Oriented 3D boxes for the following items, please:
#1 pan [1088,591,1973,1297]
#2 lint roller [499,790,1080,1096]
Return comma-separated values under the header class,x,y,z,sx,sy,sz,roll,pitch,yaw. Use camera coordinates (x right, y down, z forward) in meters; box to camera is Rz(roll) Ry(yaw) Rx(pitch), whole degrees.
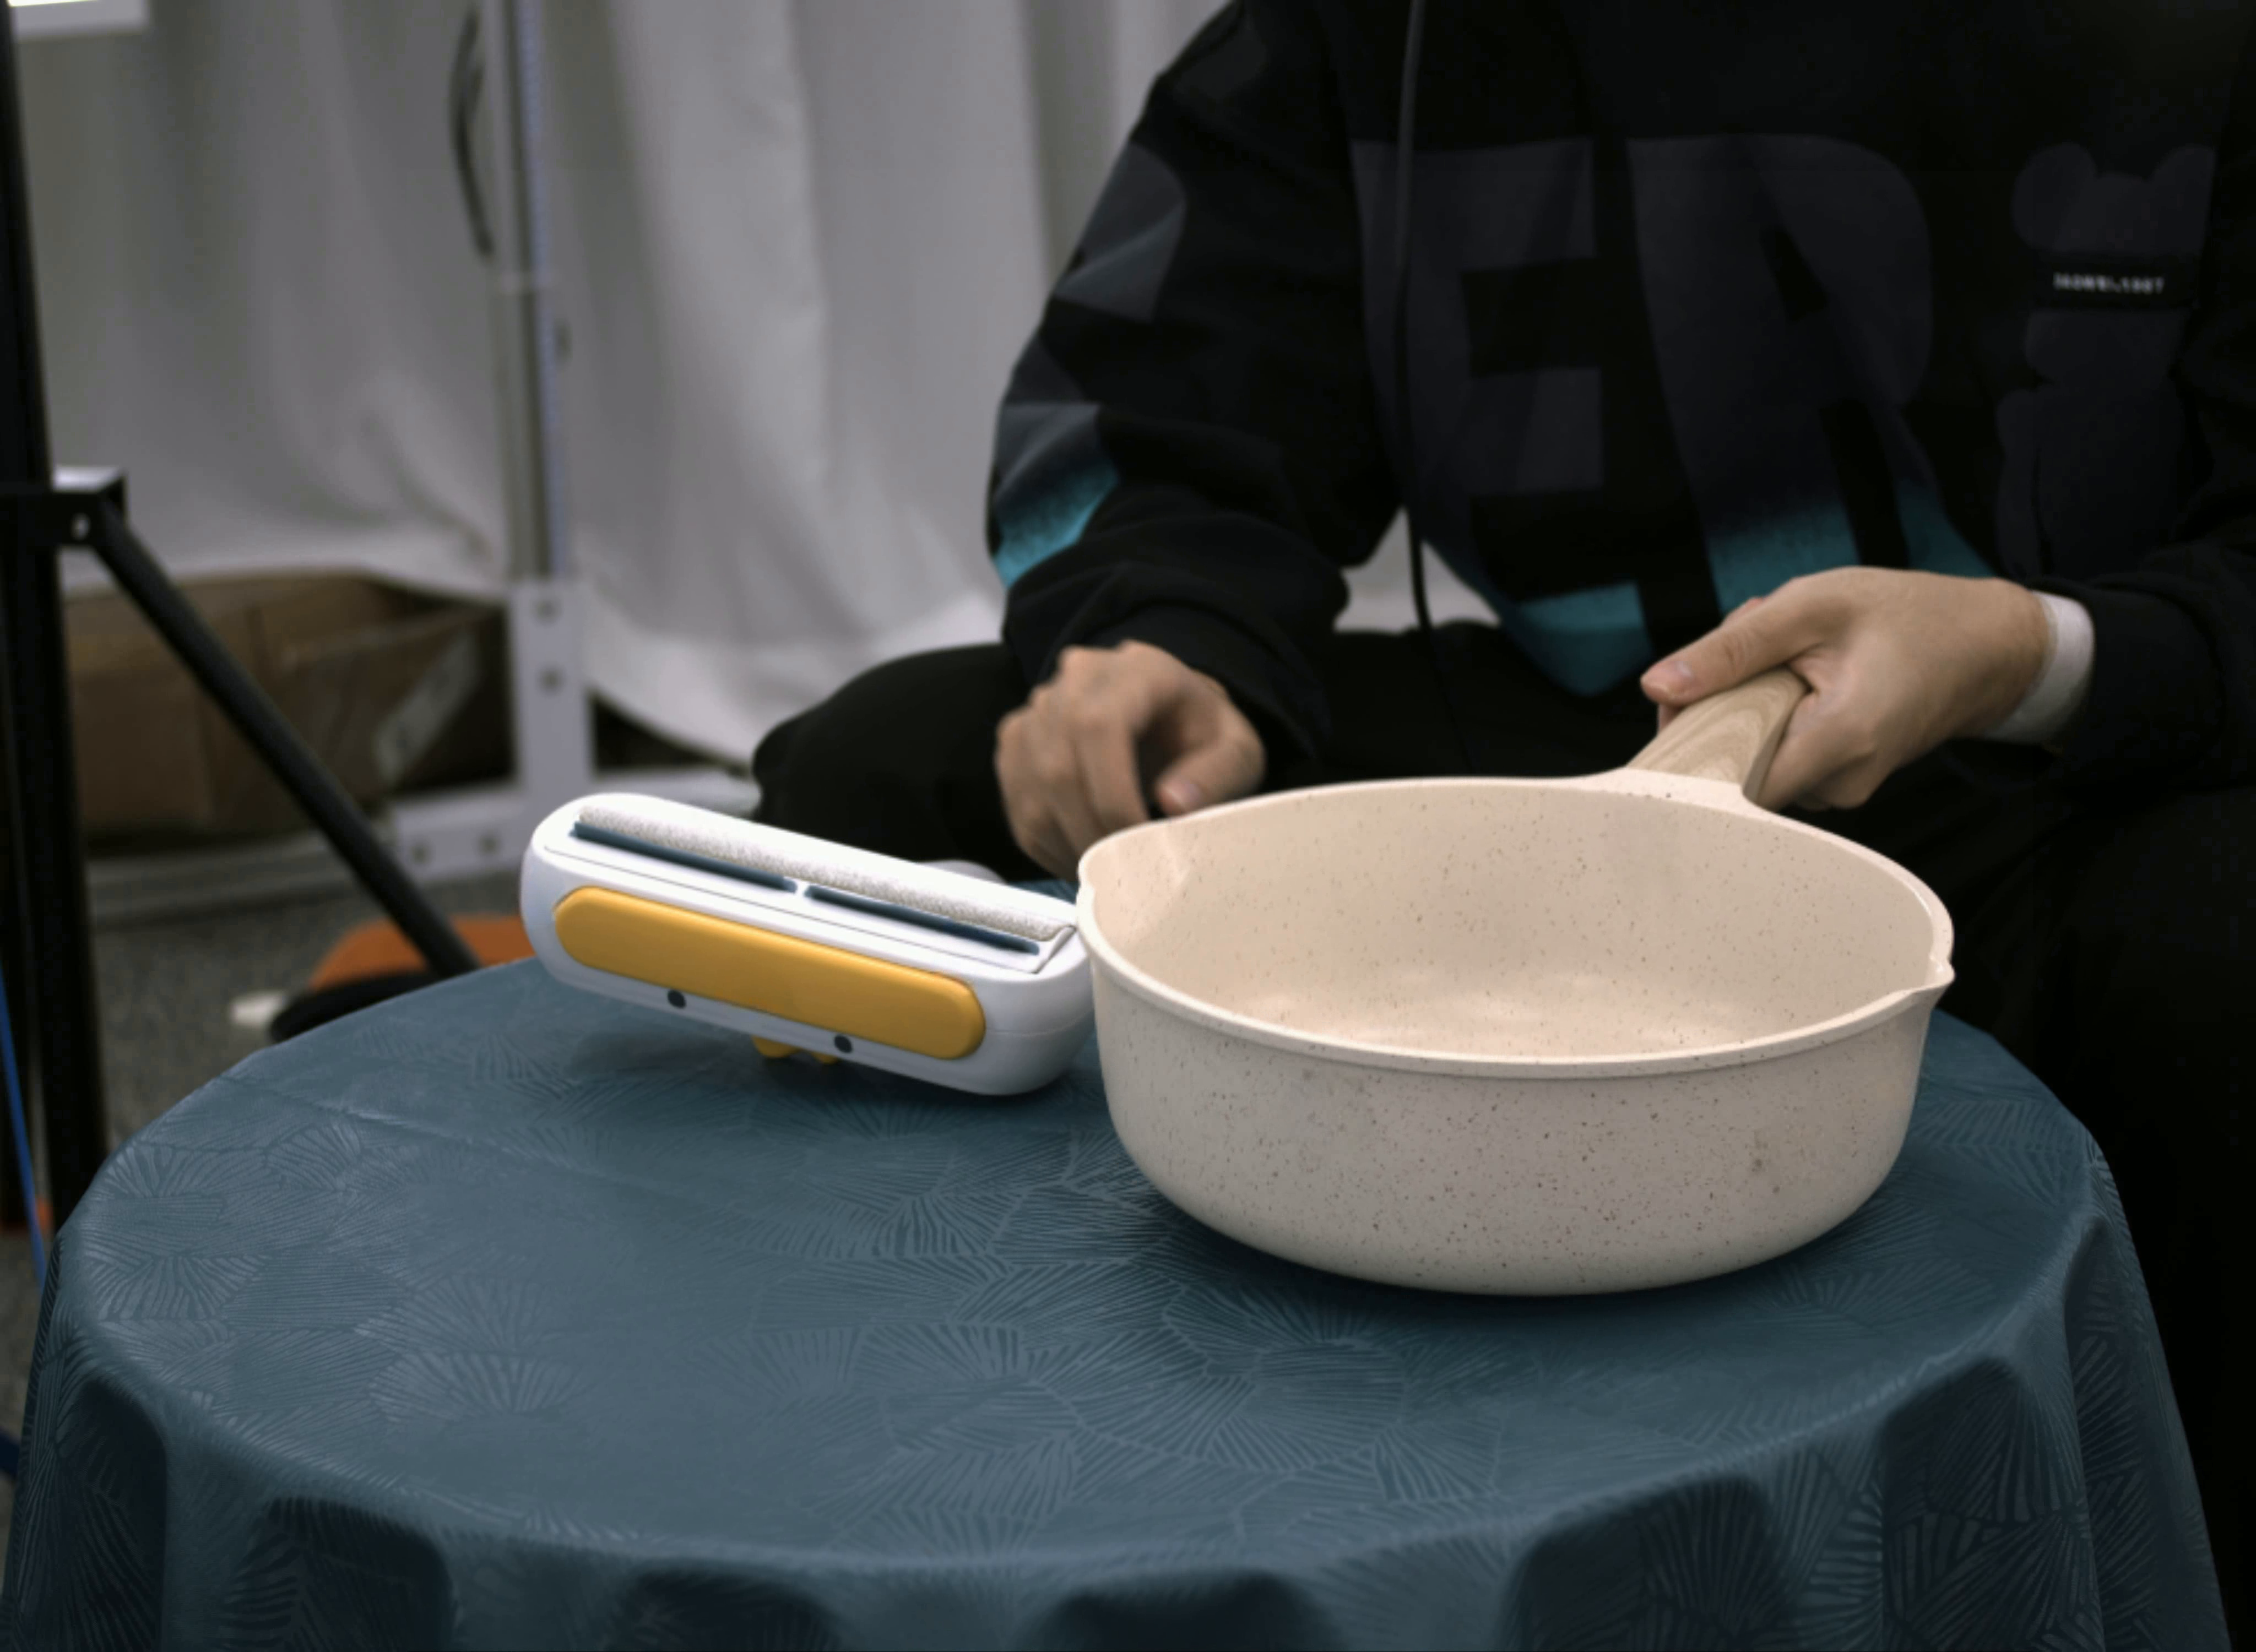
class,x,y,z,sx,sy,sz,roll,pitch,yaw
pan,0.151,0.031,1.602,0.267,0.102,0.428,5,19,25
lint roller,-0.084,0.029,1.730,0.196,0.074,0.189,10,18,24
